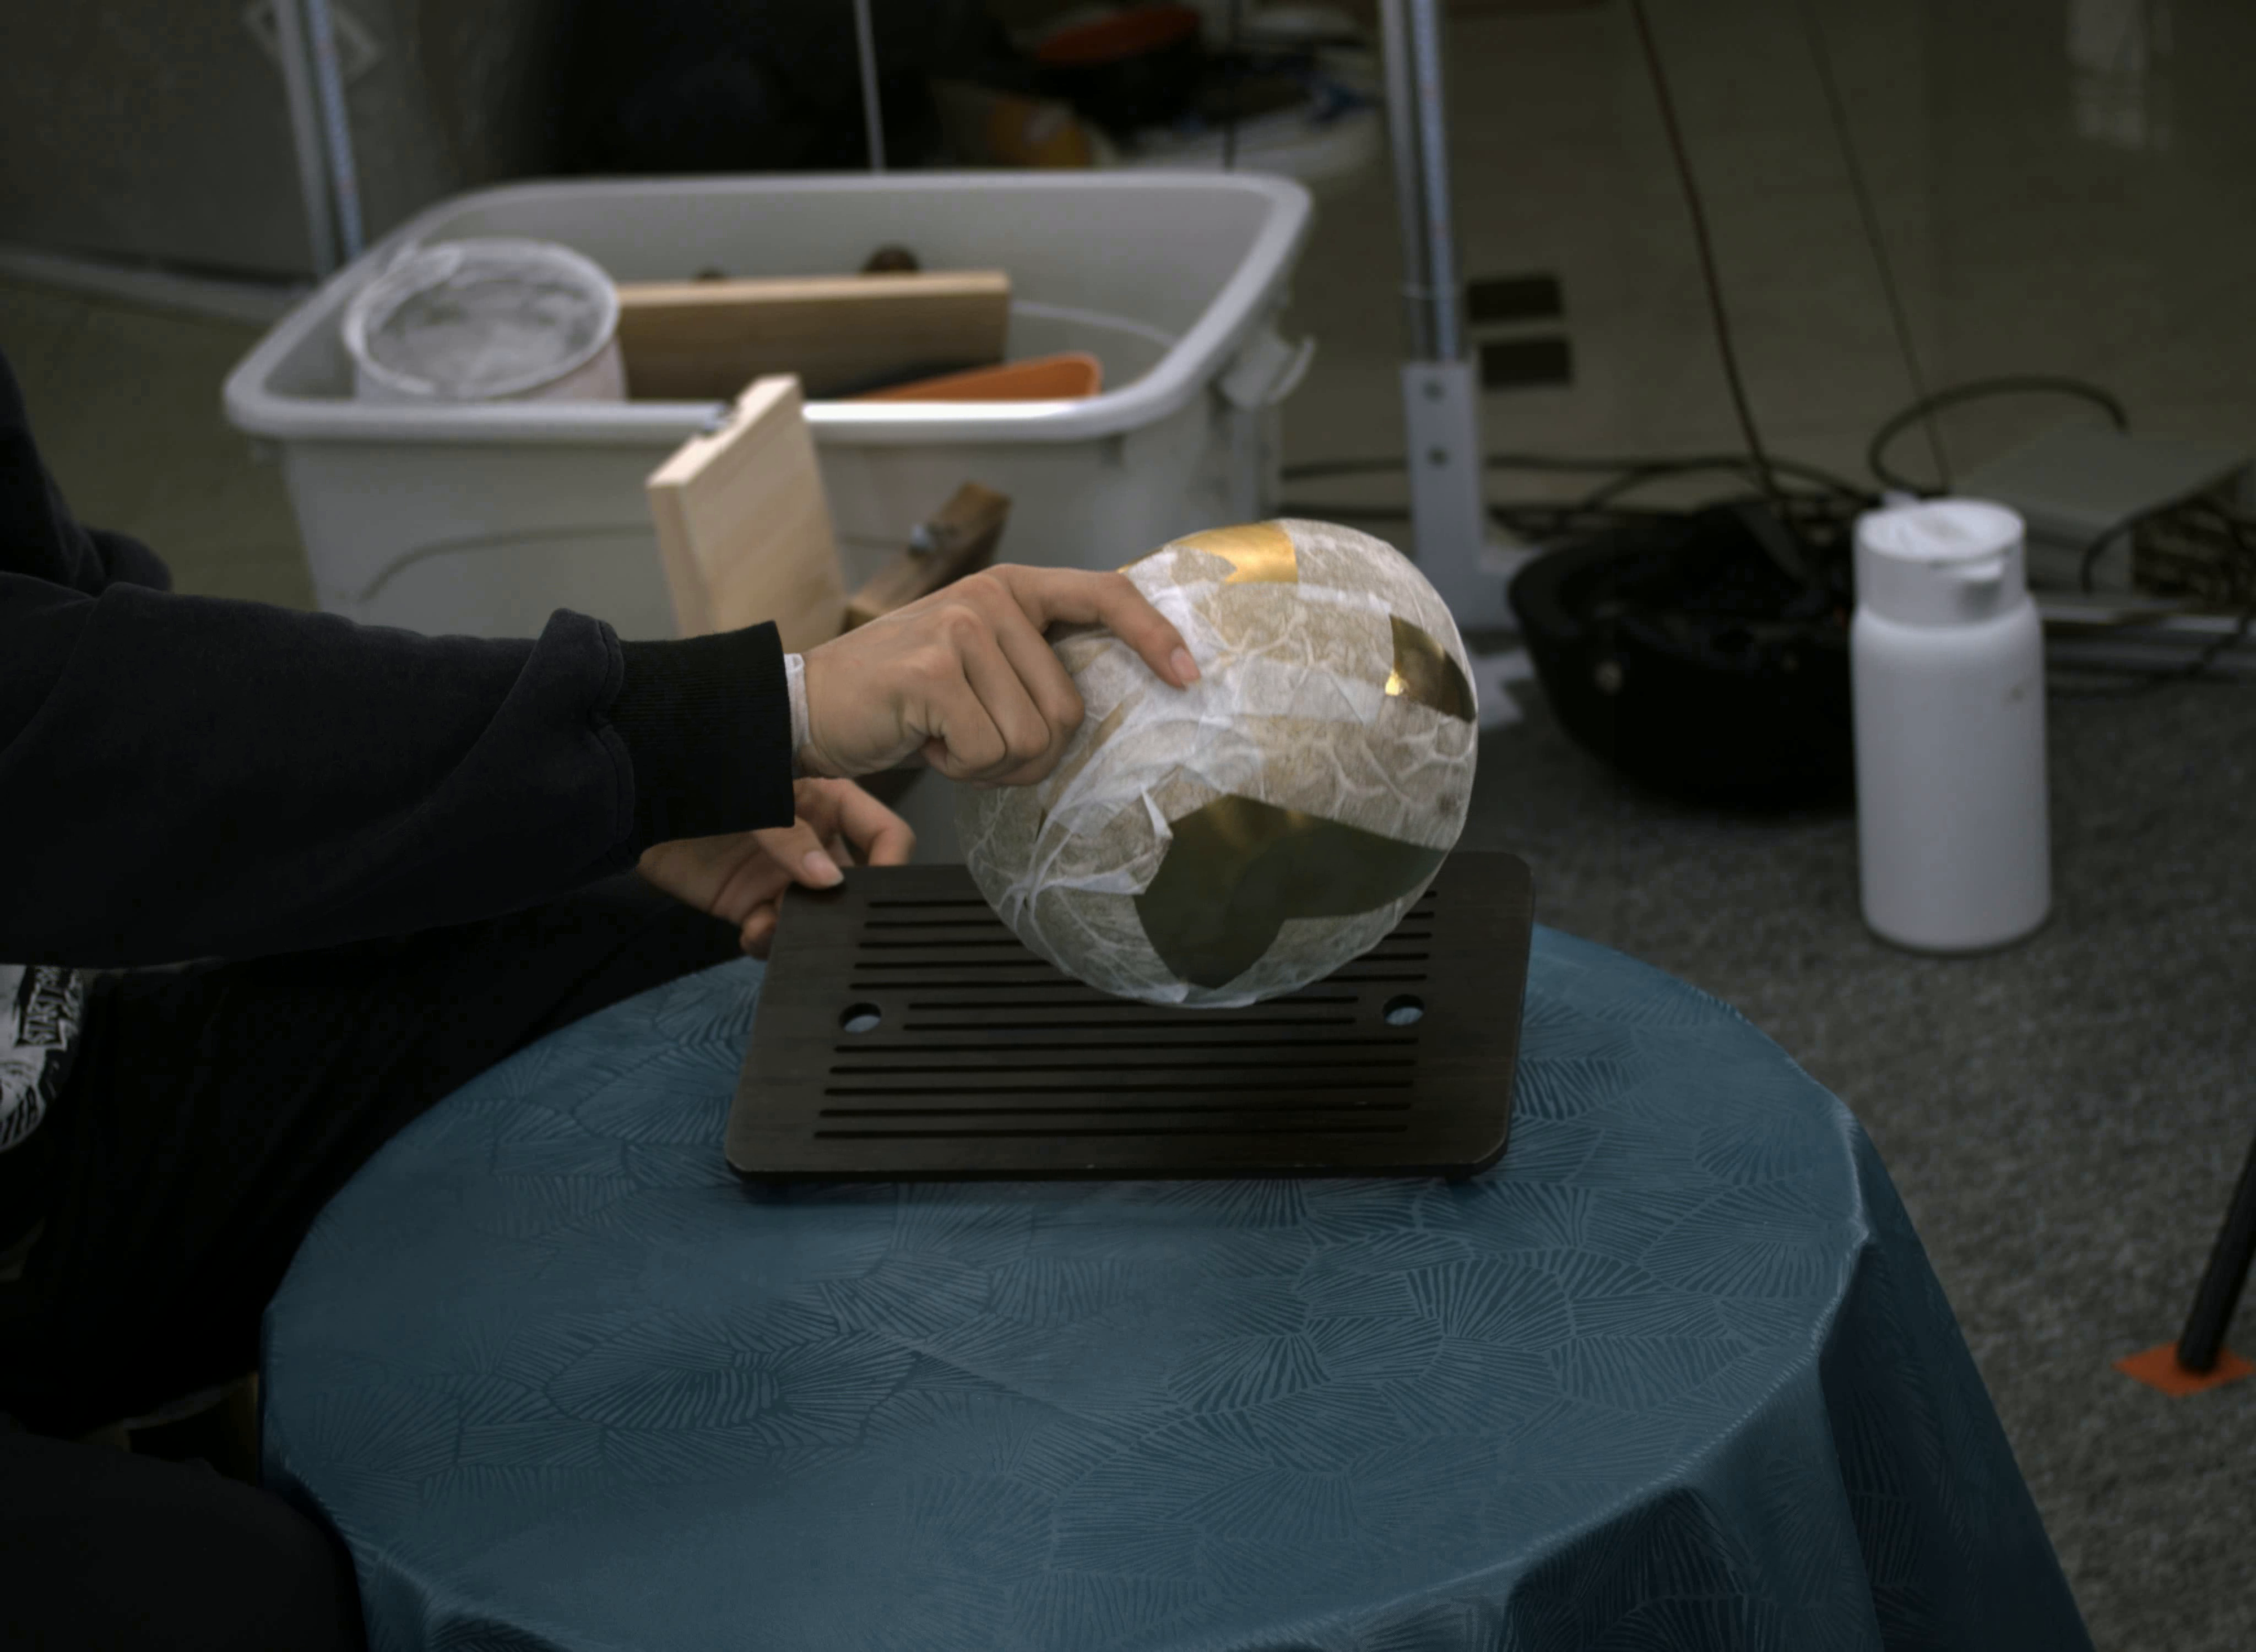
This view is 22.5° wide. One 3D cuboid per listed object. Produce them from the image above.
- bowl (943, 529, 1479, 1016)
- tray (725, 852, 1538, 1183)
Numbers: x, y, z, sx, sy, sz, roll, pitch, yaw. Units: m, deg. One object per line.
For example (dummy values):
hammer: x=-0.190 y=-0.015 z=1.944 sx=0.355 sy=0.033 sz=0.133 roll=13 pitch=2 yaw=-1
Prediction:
bowl: x=0.042 y=0.001 z=2.067 sx=0.214 sy=0.219 sz=0.093 roll=-14 pitch=47 yaw=-17
tray: x=0.003 y=0.076 z=2.209 sx=0.305 sy=0.019 sz=0.167 roll=-1 pitch=44 yaw=11
